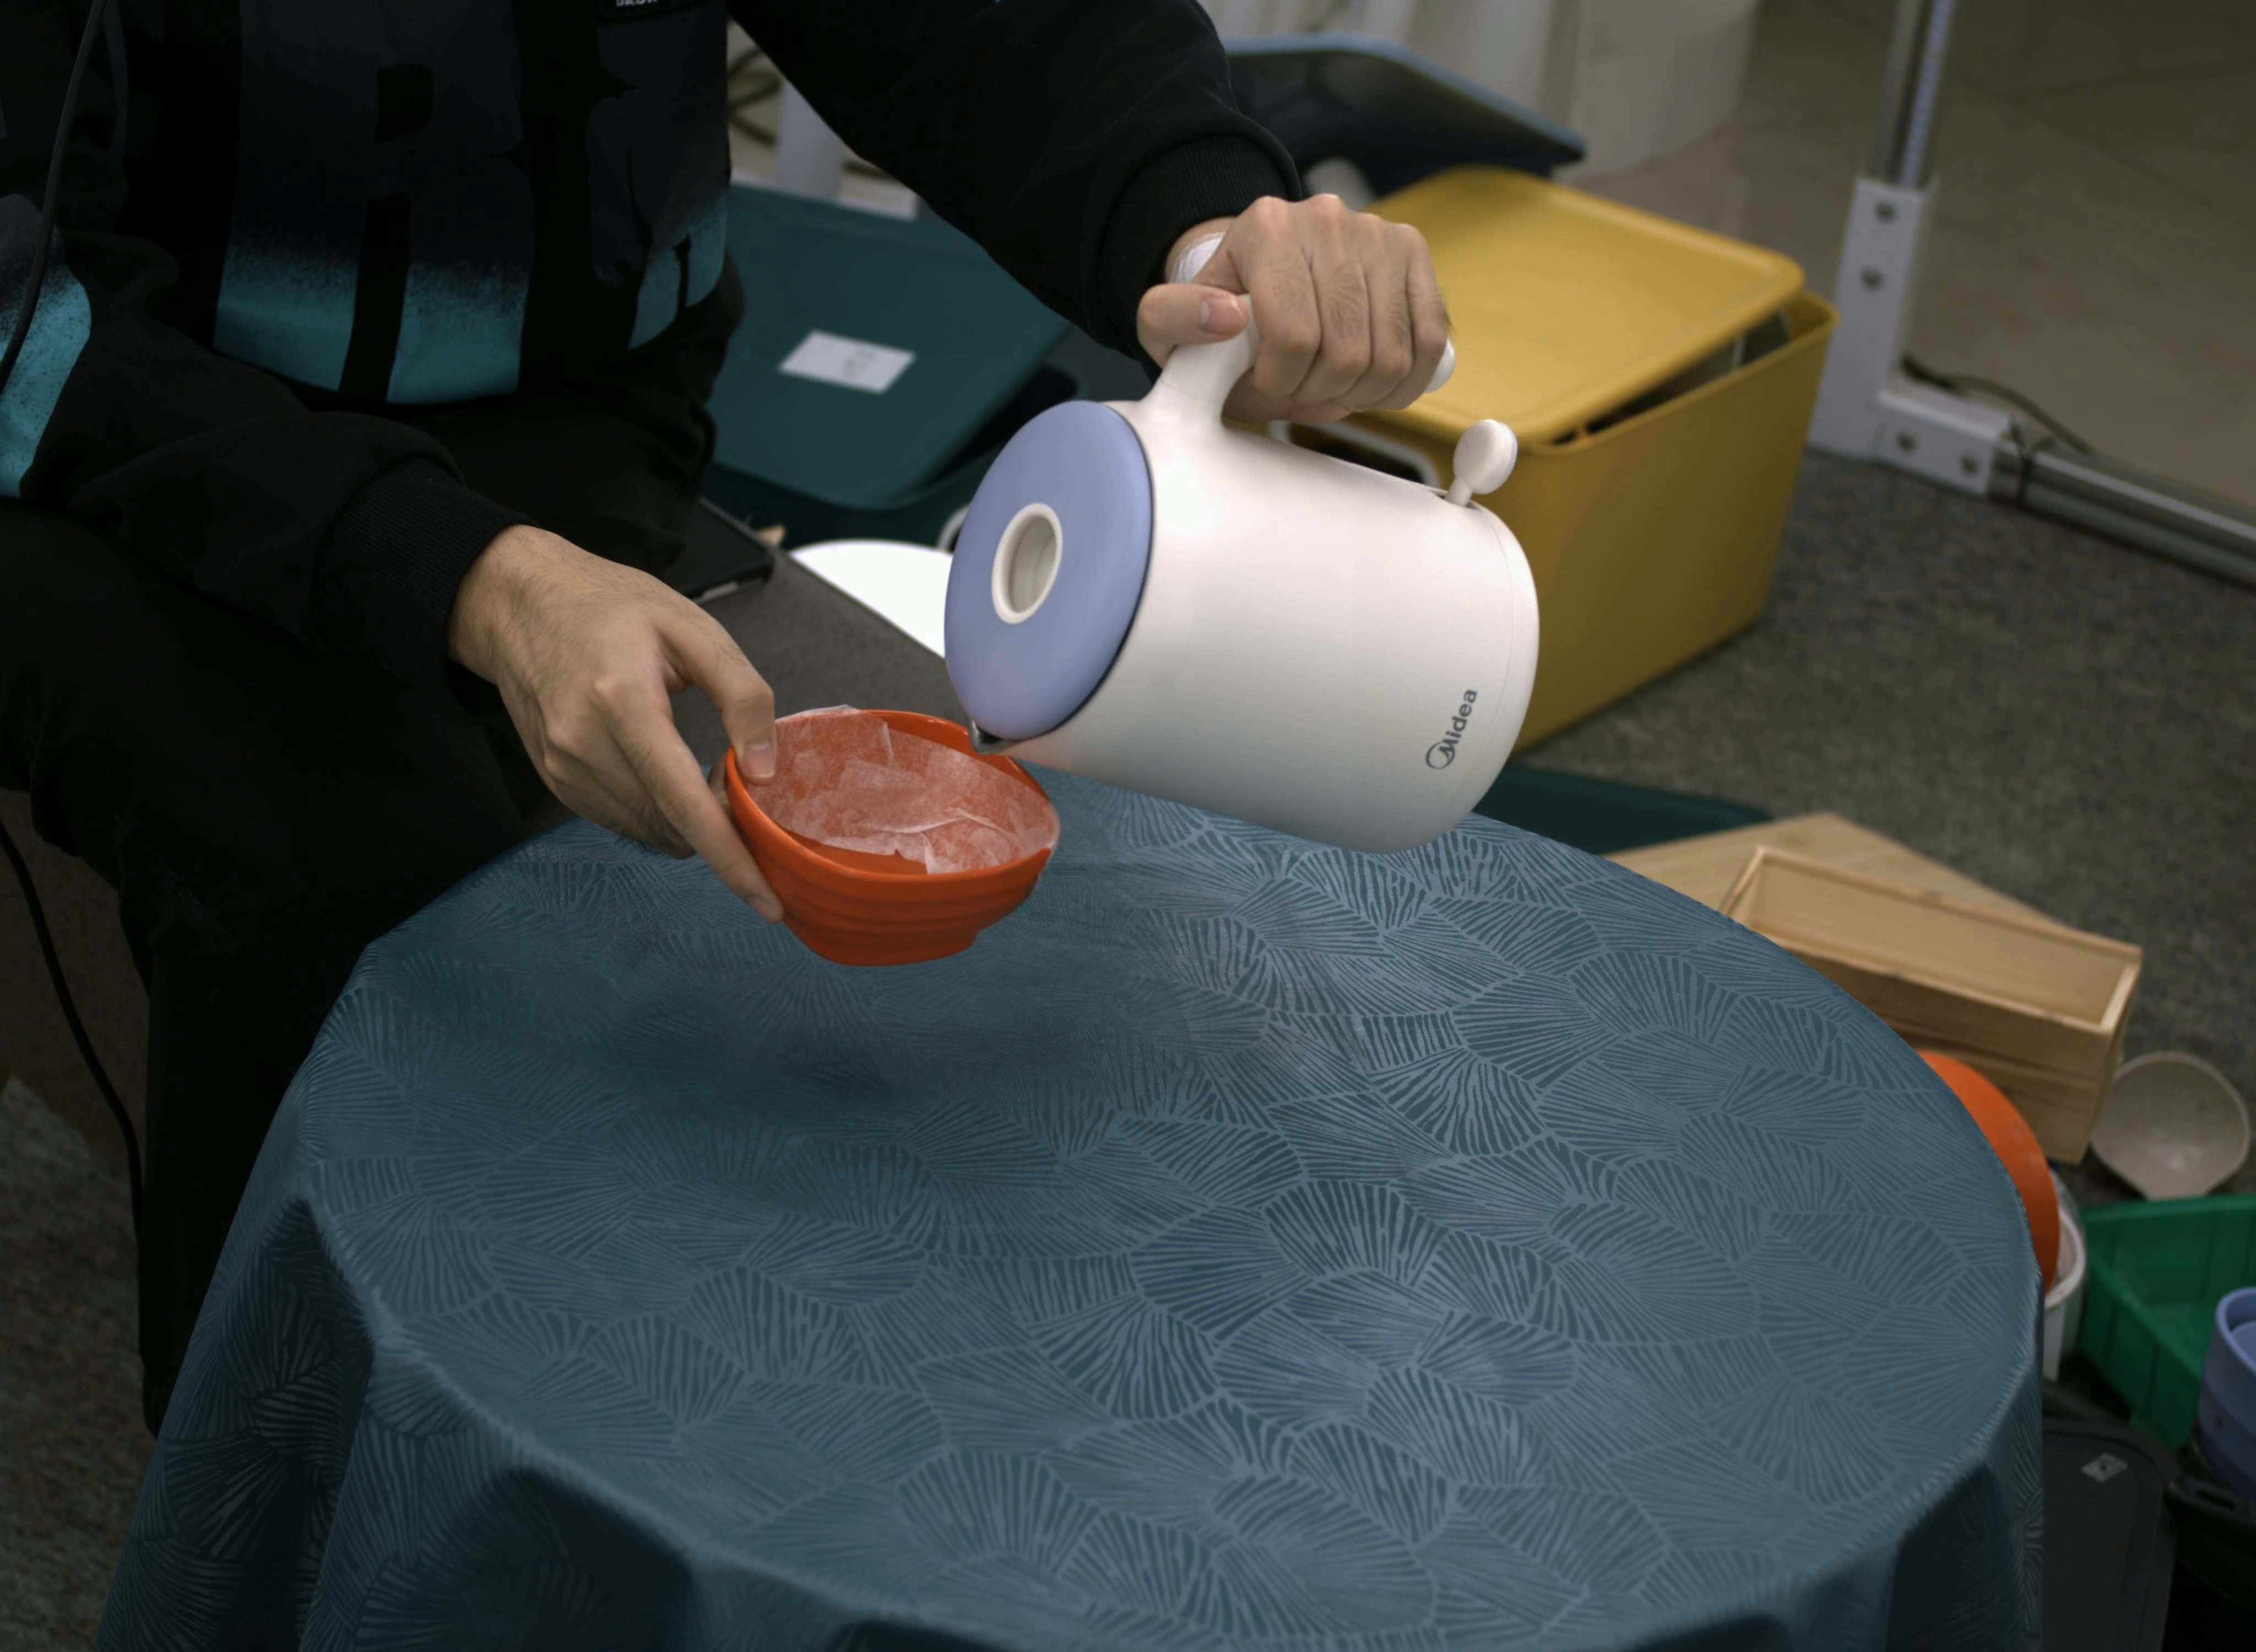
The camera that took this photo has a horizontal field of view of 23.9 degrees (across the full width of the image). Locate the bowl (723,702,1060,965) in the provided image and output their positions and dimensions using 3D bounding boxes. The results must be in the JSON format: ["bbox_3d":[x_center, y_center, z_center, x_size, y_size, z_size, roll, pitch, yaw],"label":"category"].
[{"bbox_3d":[-0.085,0.007,1.827,0.118,0.051,0.120,8,31,-5],"label":"bowl"}]

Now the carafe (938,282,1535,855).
[{"bbox_3d":[0.047,-0.092,1.834,0.181,0.191,0.133,17,12,-33],"label":"carafe"}]
